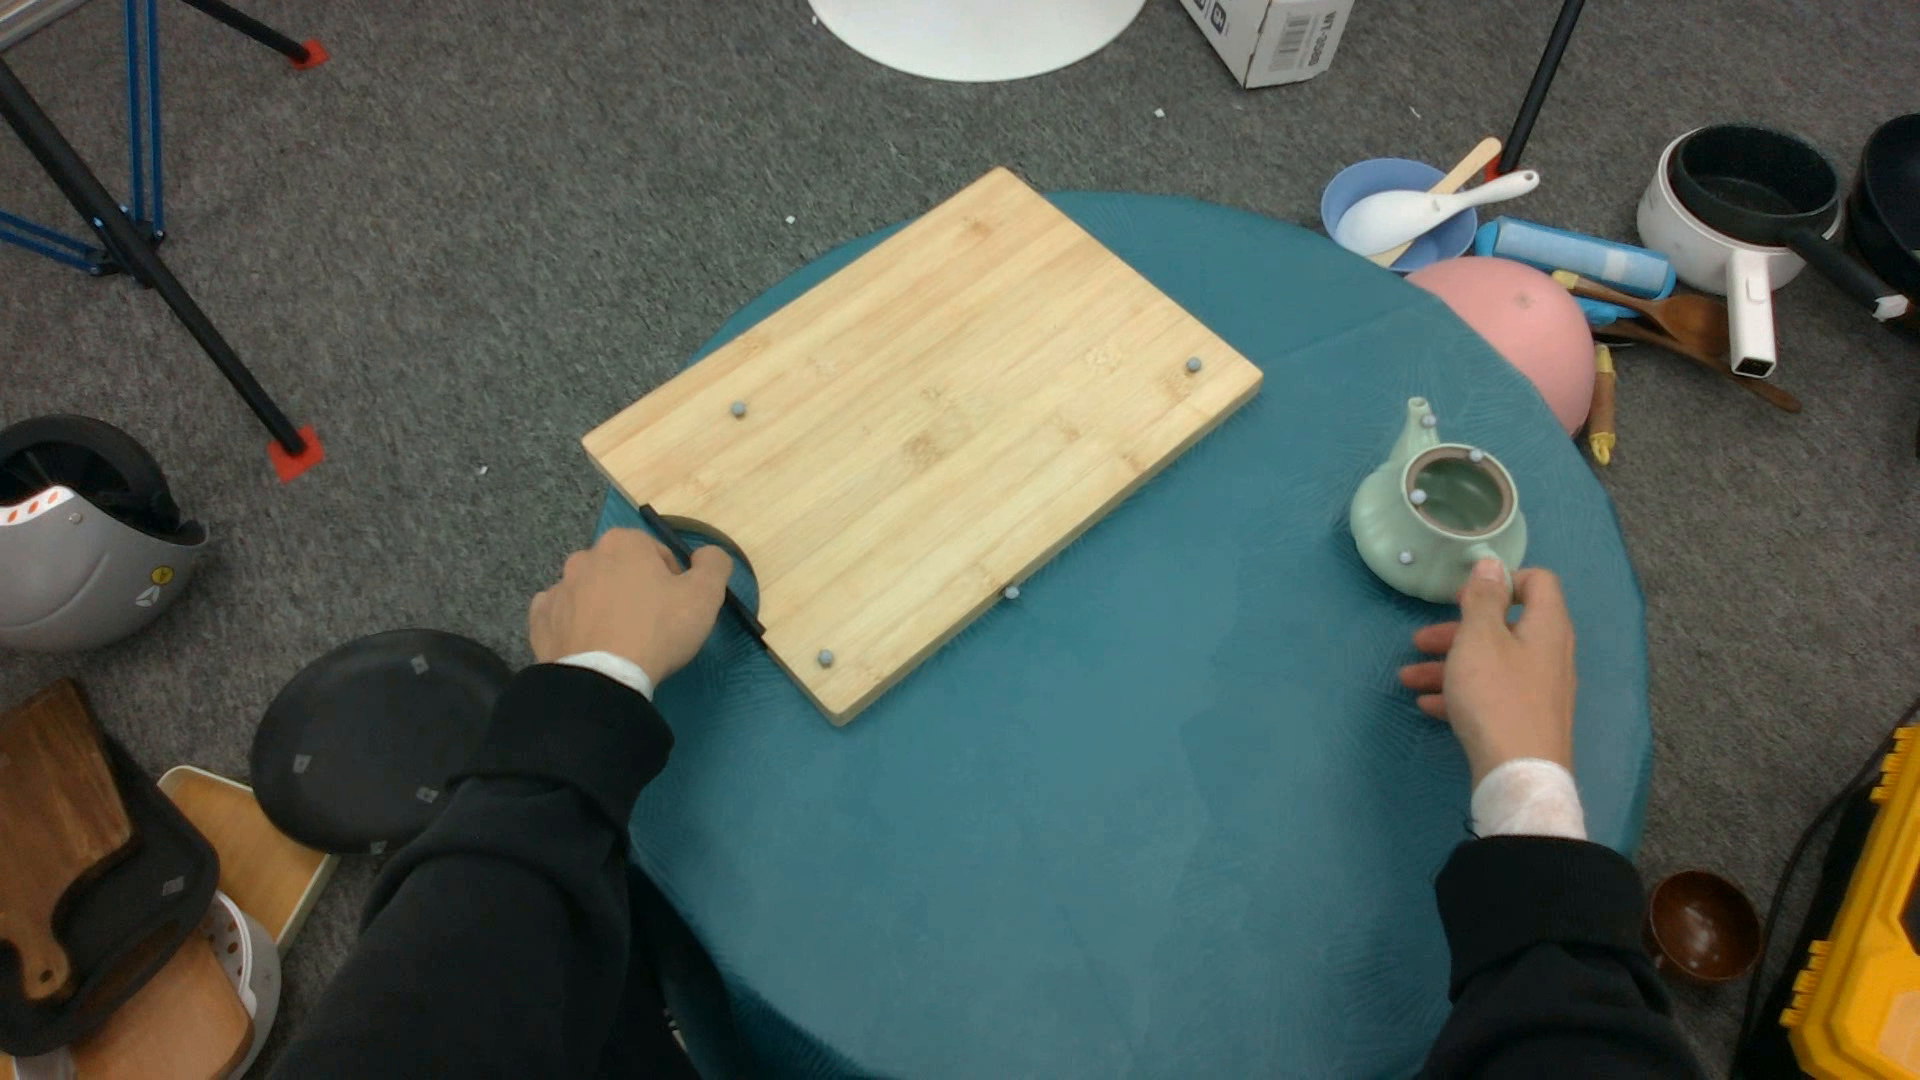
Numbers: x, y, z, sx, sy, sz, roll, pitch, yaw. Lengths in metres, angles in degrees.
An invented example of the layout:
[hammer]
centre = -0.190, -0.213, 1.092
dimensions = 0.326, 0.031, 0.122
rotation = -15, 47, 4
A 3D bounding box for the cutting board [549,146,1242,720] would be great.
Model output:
[cutting board]
centre = -0.032, -0.084, 0.830
dimensions = 0.350, 0.023, 0.251
rotation = -40, 67, -21

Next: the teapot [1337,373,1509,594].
[teapot]
centre = 0.265, -0.025, 0.773
dimensions = 0.096, 0.061, 0.137
rotation = -13, 60, -9
